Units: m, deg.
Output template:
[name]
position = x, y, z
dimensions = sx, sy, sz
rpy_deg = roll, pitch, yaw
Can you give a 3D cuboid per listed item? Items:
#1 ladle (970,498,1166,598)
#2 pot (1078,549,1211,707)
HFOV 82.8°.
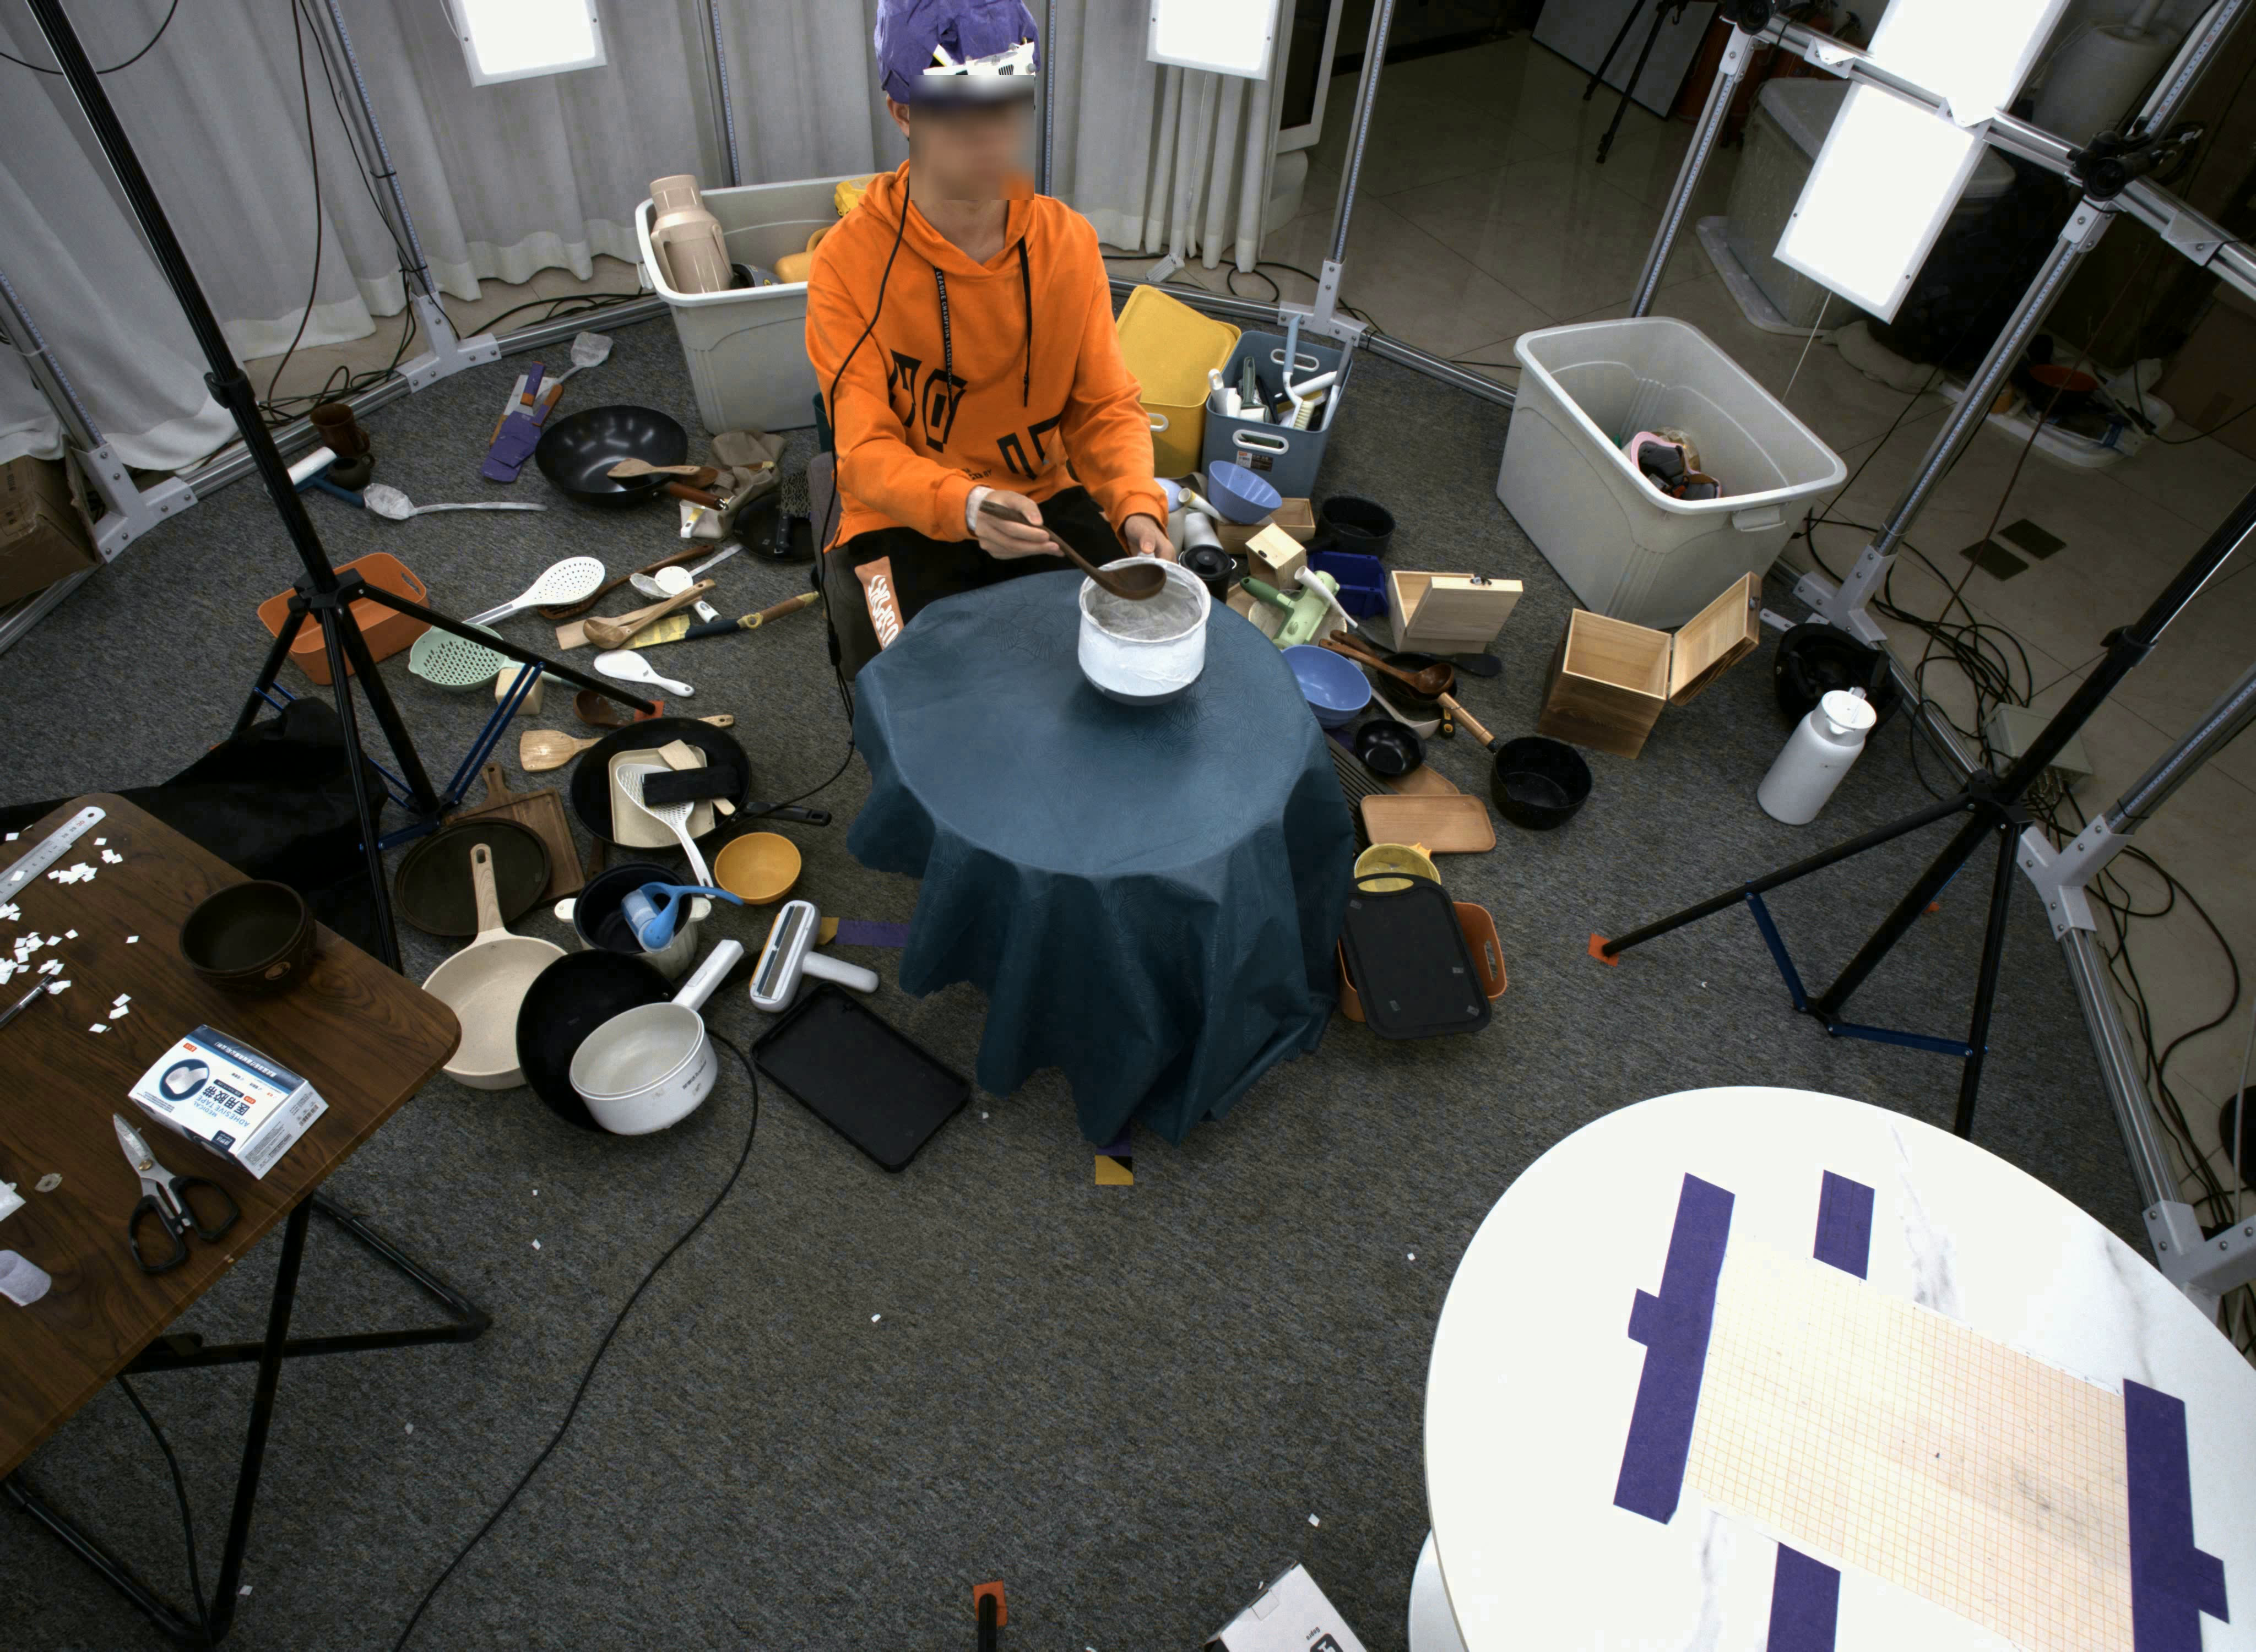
[ladle]
position = -0.071, -0.373, 1.659
dimensions = 0.270, 0.070, 0.078
rpy_deg = 27, 23, -29
[pot]
position = 0.020, -0.283, 1.780
dimensions = 0.178, 0.133, 0.239
rpy_deg = 2, 48, -1
